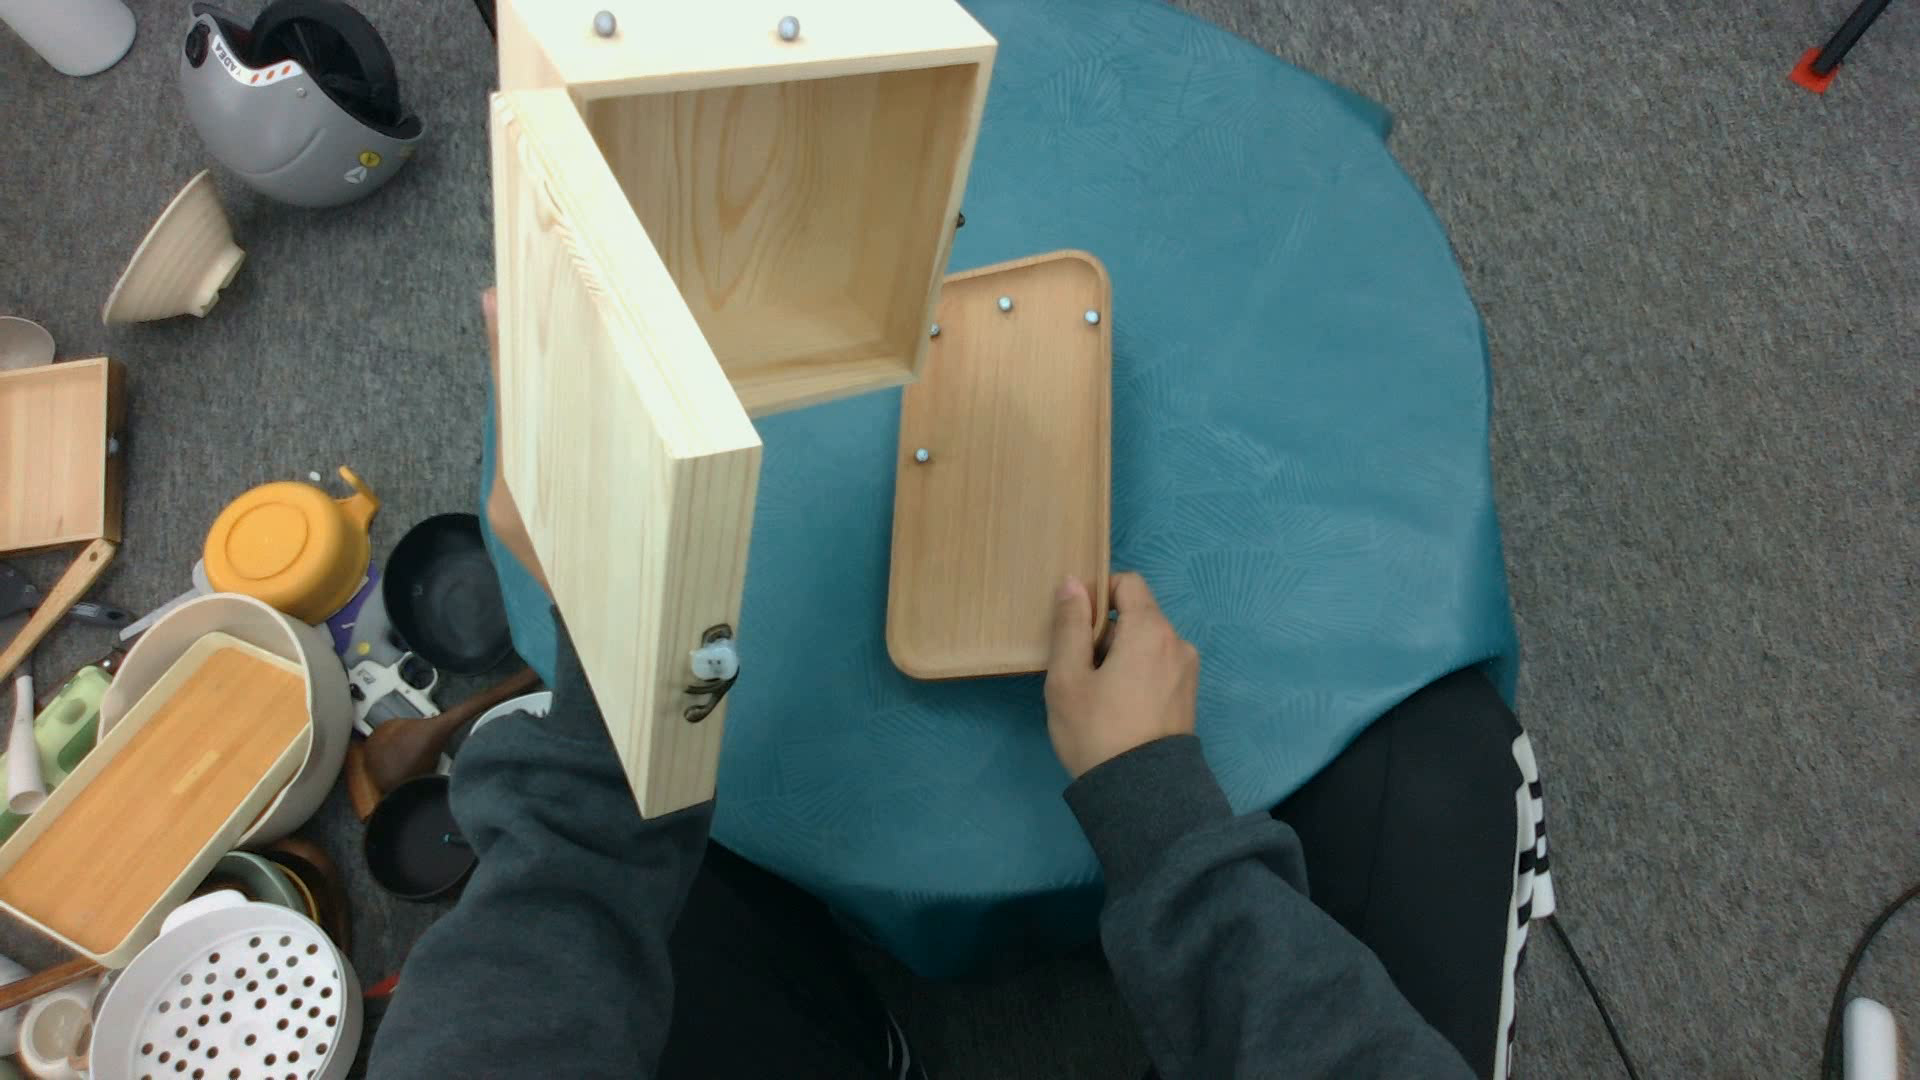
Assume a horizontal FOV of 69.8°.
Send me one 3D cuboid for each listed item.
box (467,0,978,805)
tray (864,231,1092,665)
[{"bbox_3d":[-0.091,-0.082,0.542,0.266,0.181,0.253,-17,57,-29],"label":"box"},{"bbox_3d":[0.012,-0.054,0.761,0.130,0.023,0.251,-8,67,25],"label":"tray"}]
